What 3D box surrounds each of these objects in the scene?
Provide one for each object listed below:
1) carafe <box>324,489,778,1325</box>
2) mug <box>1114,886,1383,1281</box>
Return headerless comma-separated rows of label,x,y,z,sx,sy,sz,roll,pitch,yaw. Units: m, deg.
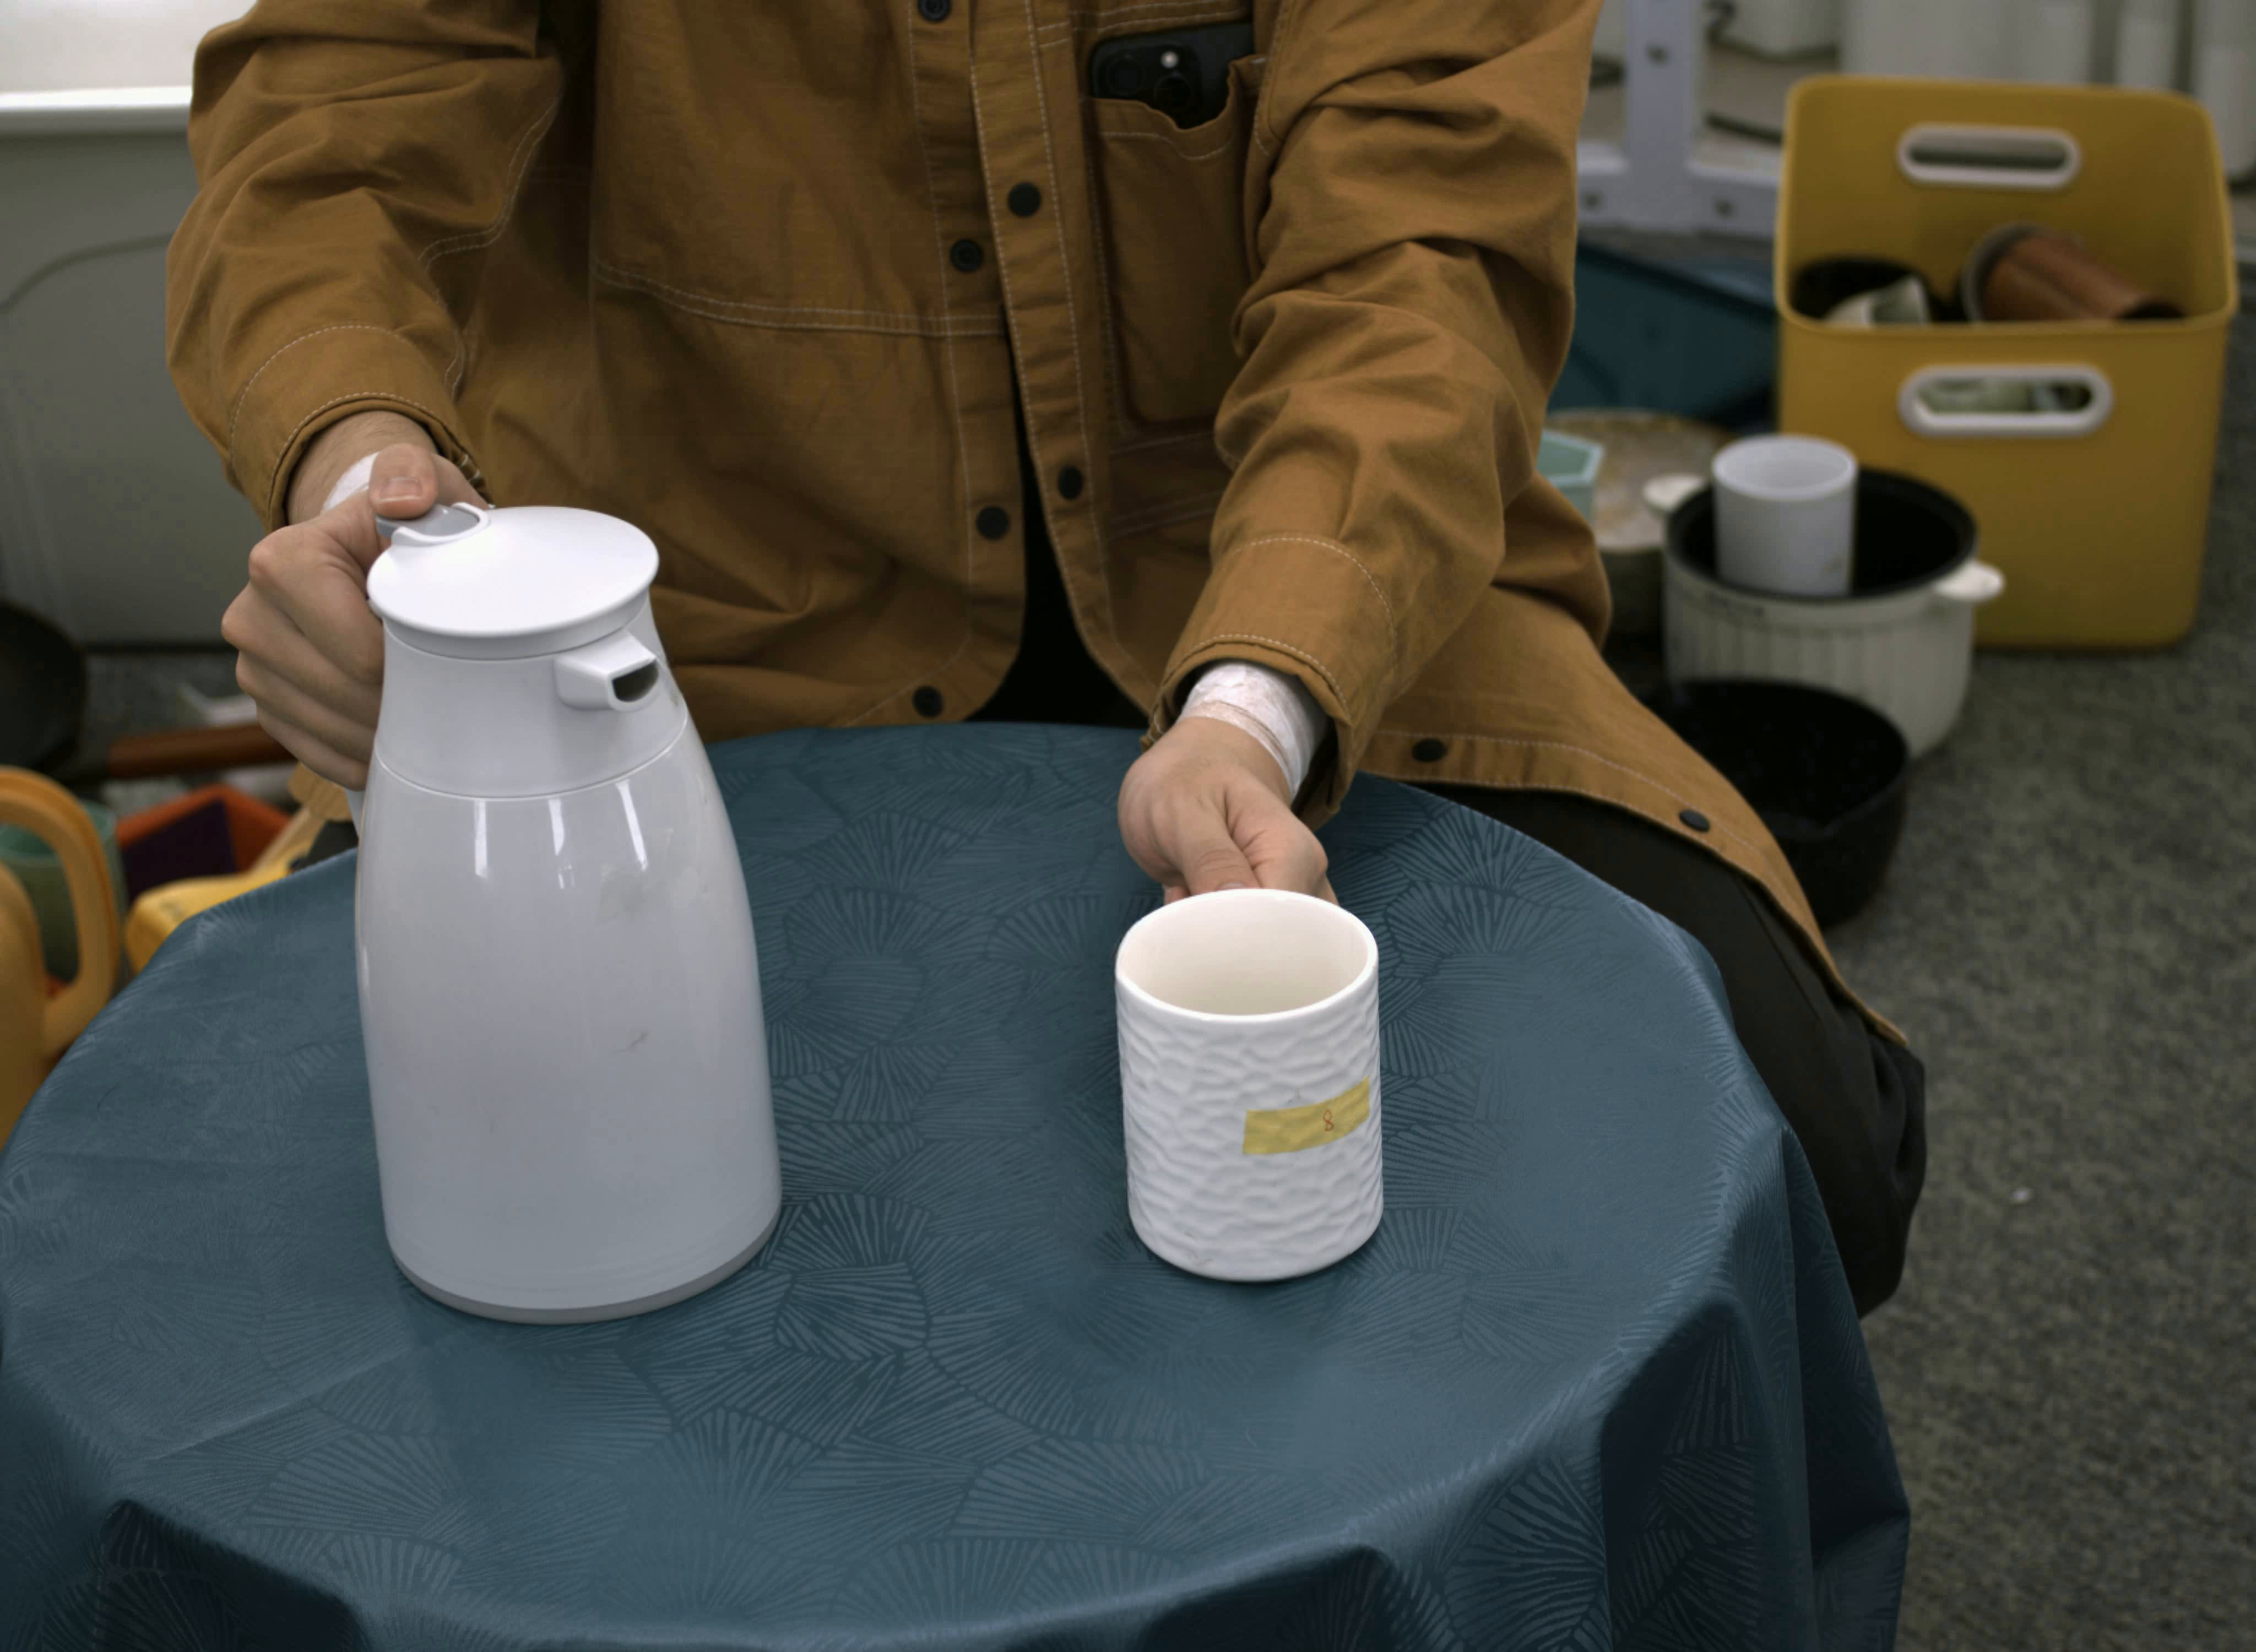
carafe,-0.201,0.016,1.817,0.134,0.246,0.167,-25,33,-36
mug,0.037,0.077,1.832,0.085,0.101,0.119,-6,26,-8
